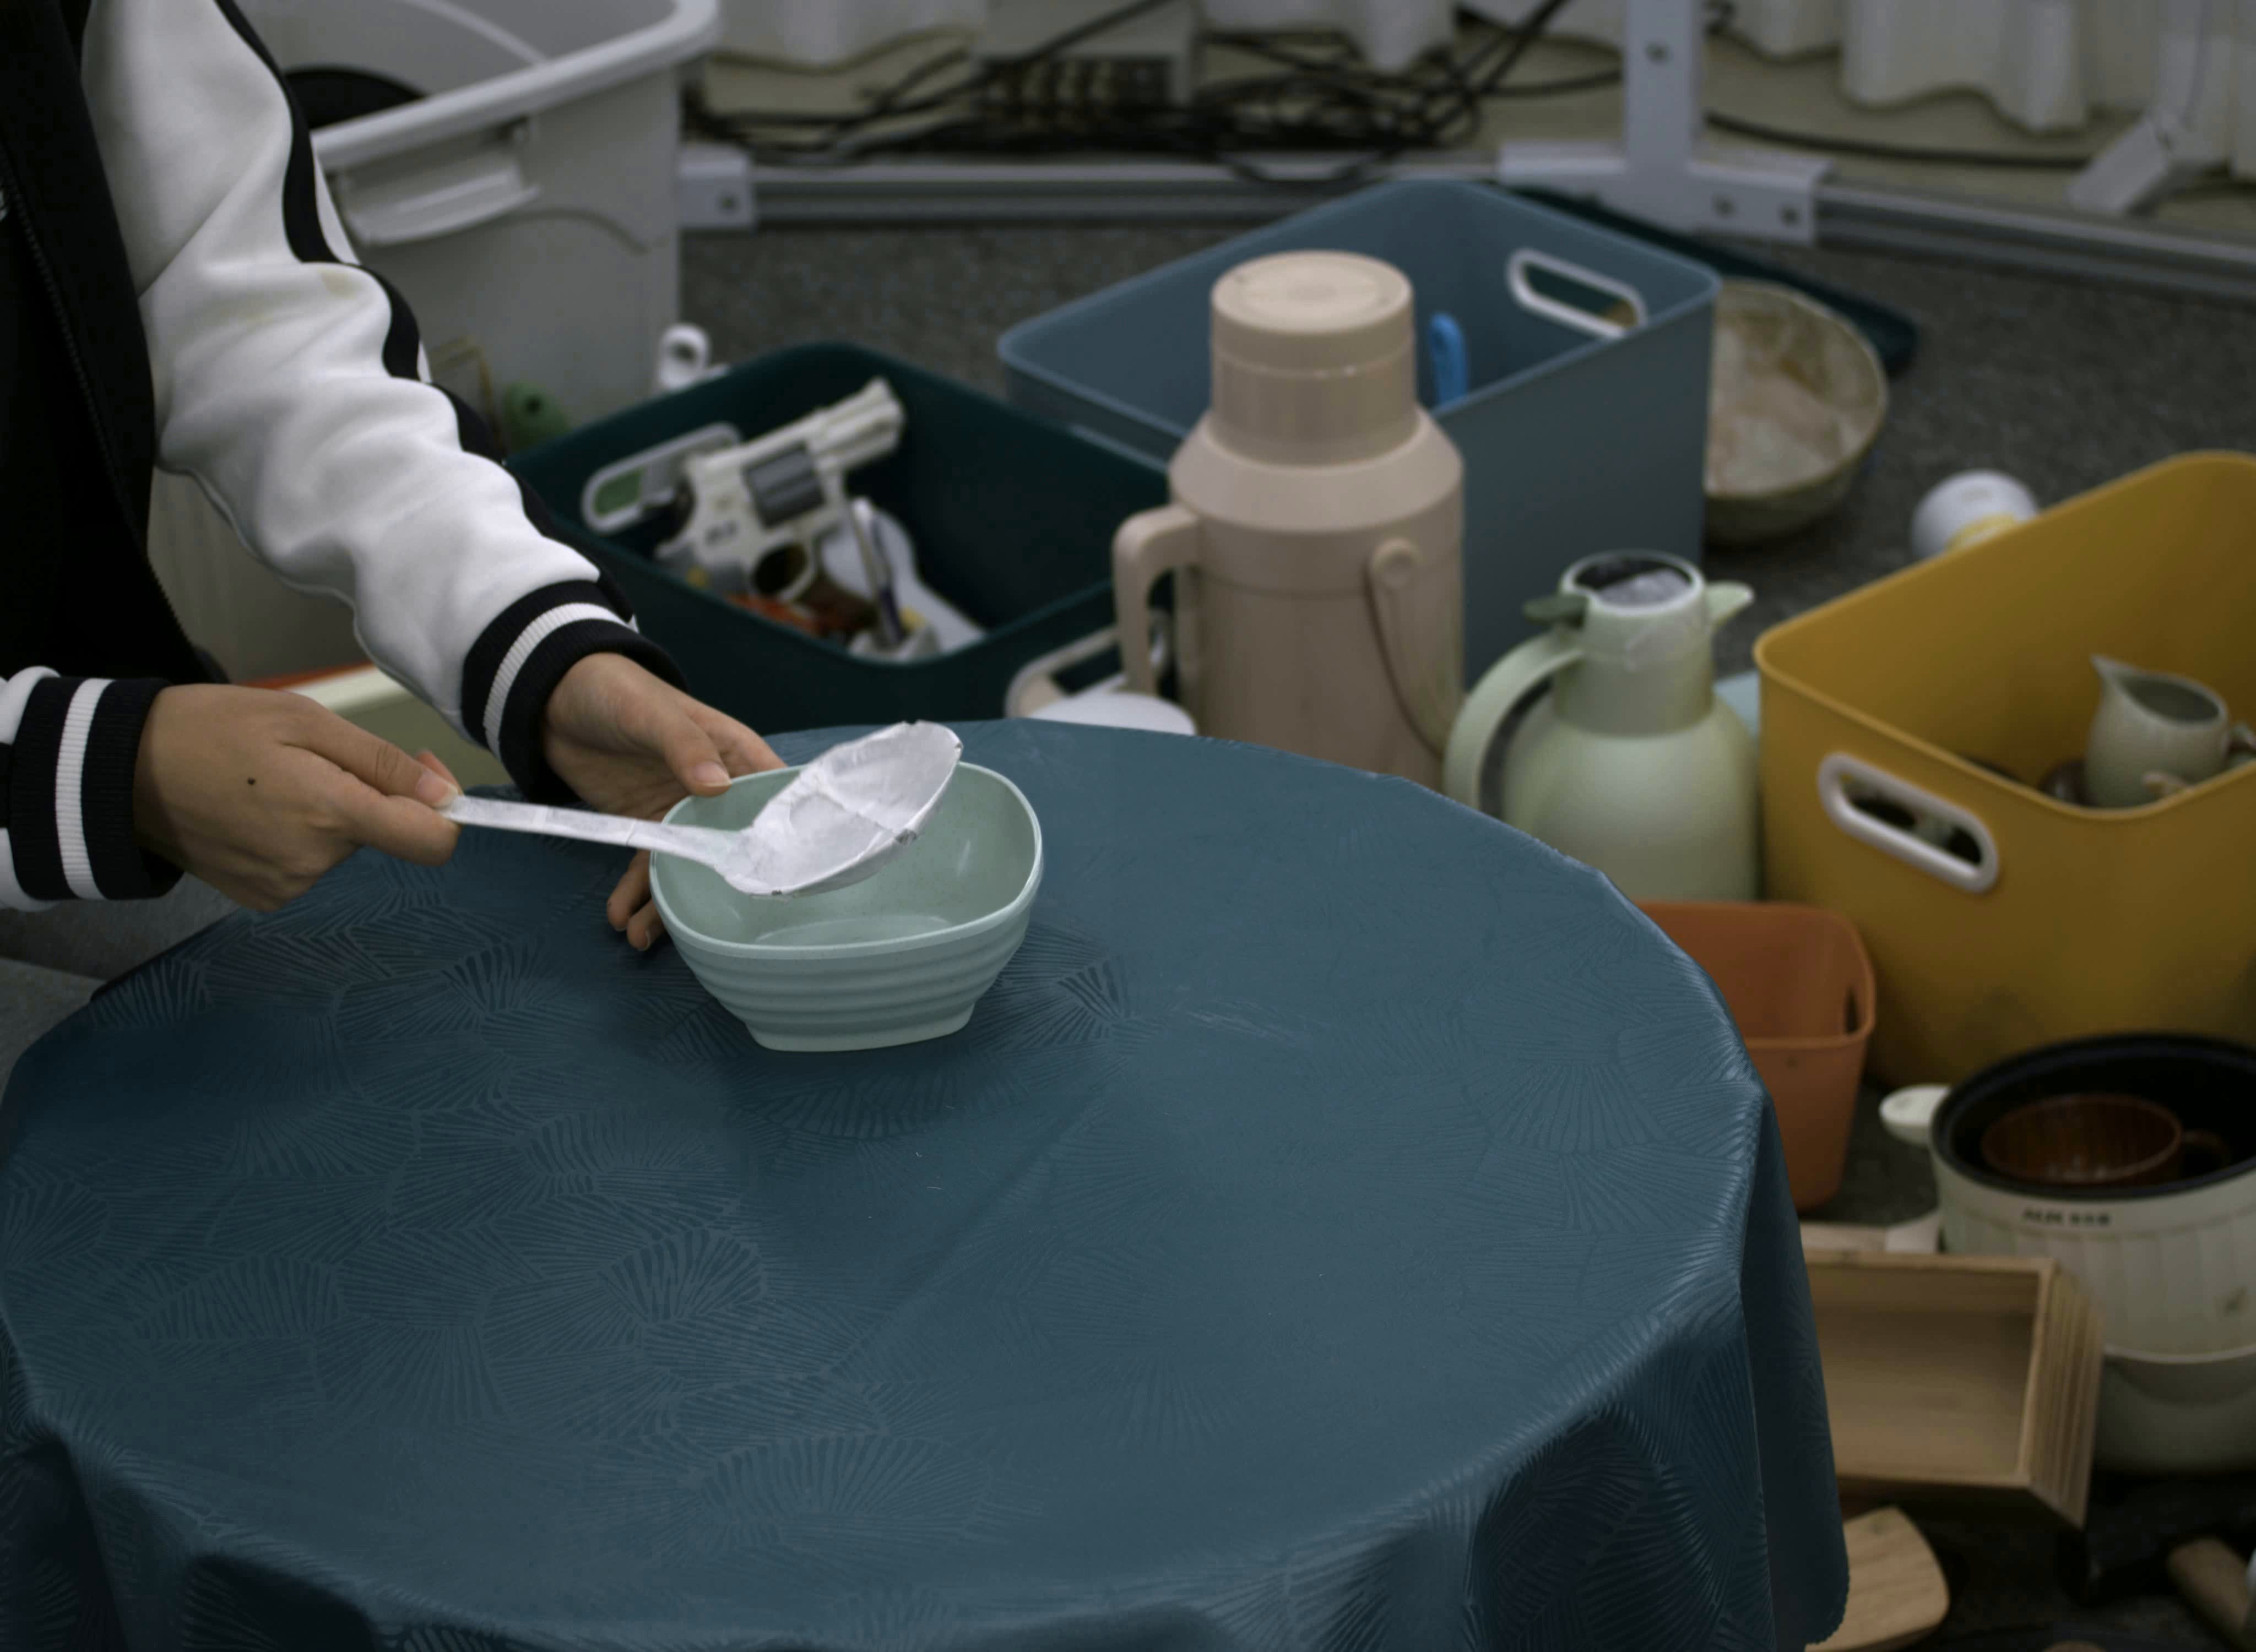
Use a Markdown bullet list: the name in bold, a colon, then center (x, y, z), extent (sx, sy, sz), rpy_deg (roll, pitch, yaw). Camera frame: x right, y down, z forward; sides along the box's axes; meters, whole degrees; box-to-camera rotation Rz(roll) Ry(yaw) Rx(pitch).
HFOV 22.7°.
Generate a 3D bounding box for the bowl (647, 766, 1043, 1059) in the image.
- **bowl**: center (-0.098, 0.036, 1.979), extent (0.151, 0.058, 0.154), rpy_deg (-2, 27, 1)

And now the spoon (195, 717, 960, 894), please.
- **spoon**: center (-0.193, -0.026, 1.961), extent (0.276, 0.058, 0.102), rpy_deg (12, 29, 10)
